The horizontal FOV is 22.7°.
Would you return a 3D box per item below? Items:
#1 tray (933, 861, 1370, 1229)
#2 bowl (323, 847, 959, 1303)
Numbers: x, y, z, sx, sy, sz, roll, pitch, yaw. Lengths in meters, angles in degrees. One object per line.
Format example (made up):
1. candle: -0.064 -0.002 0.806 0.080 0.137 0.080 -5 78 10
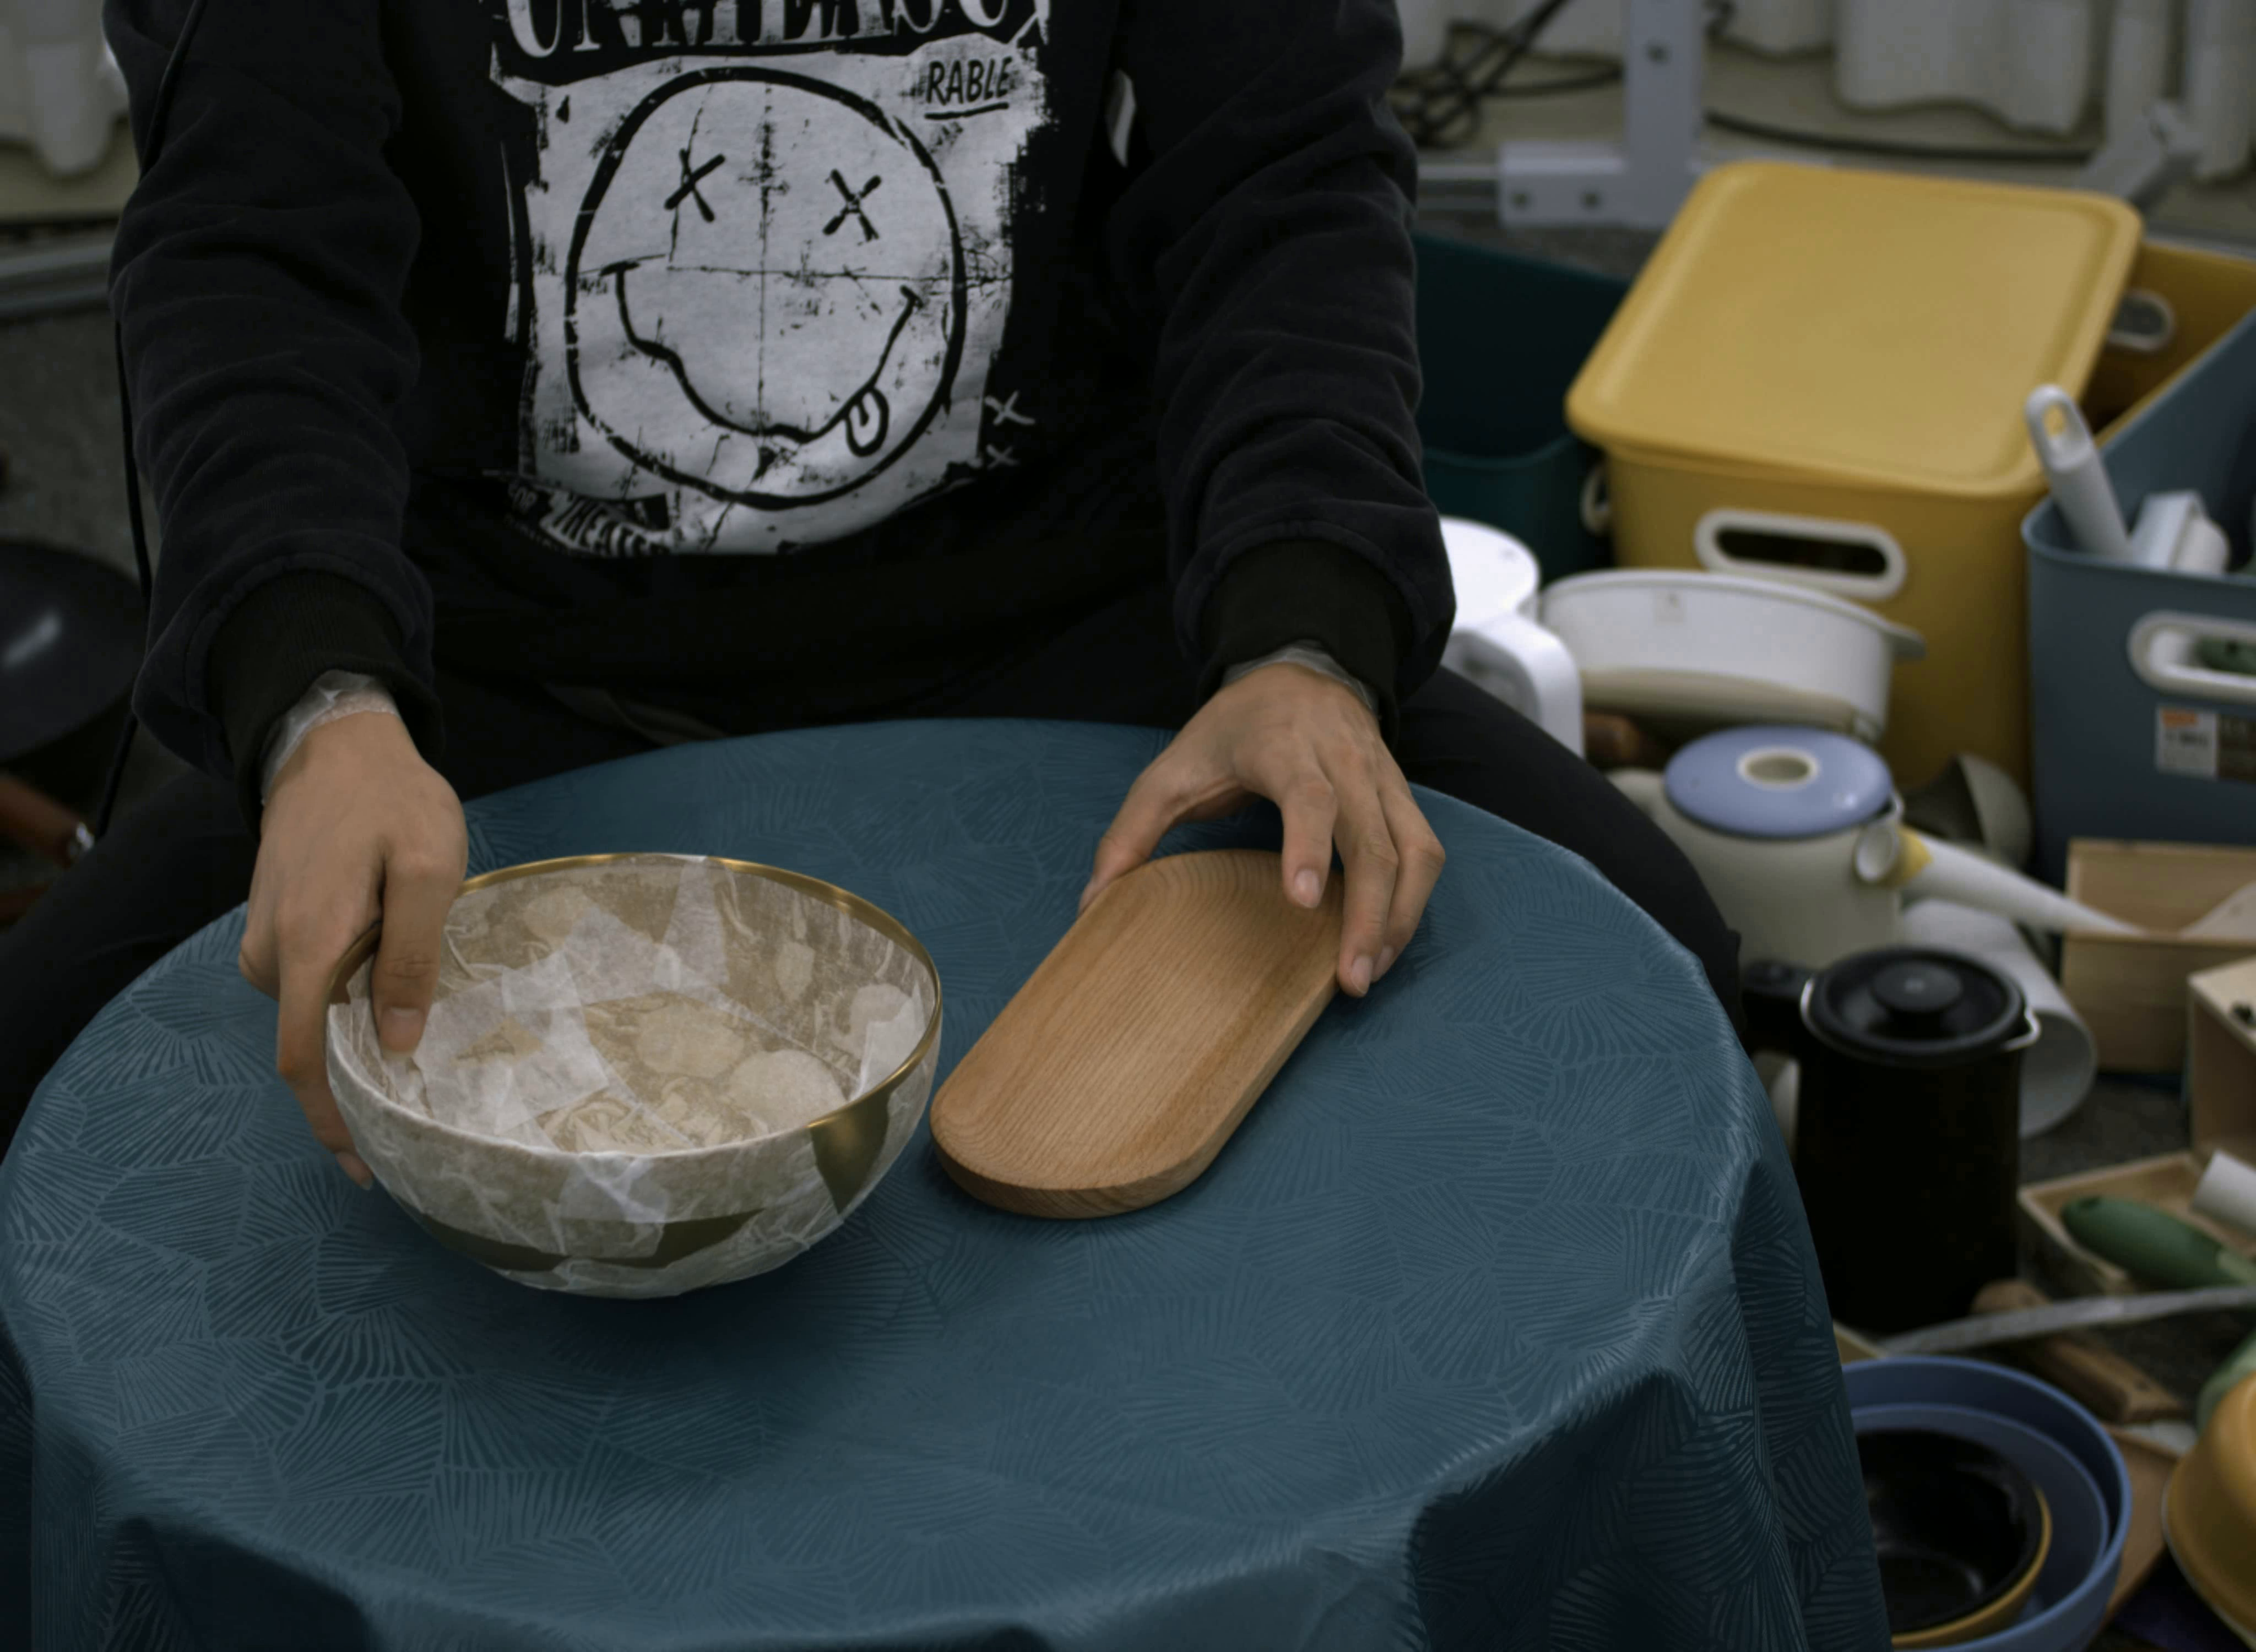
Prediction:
1. tray: 0.010 0.073 1.934 0.101 0.020 0.235 7 31 22
2. bowl: -0.156 0.093 1.826 0.214 0.093 0.218 0 26 0
